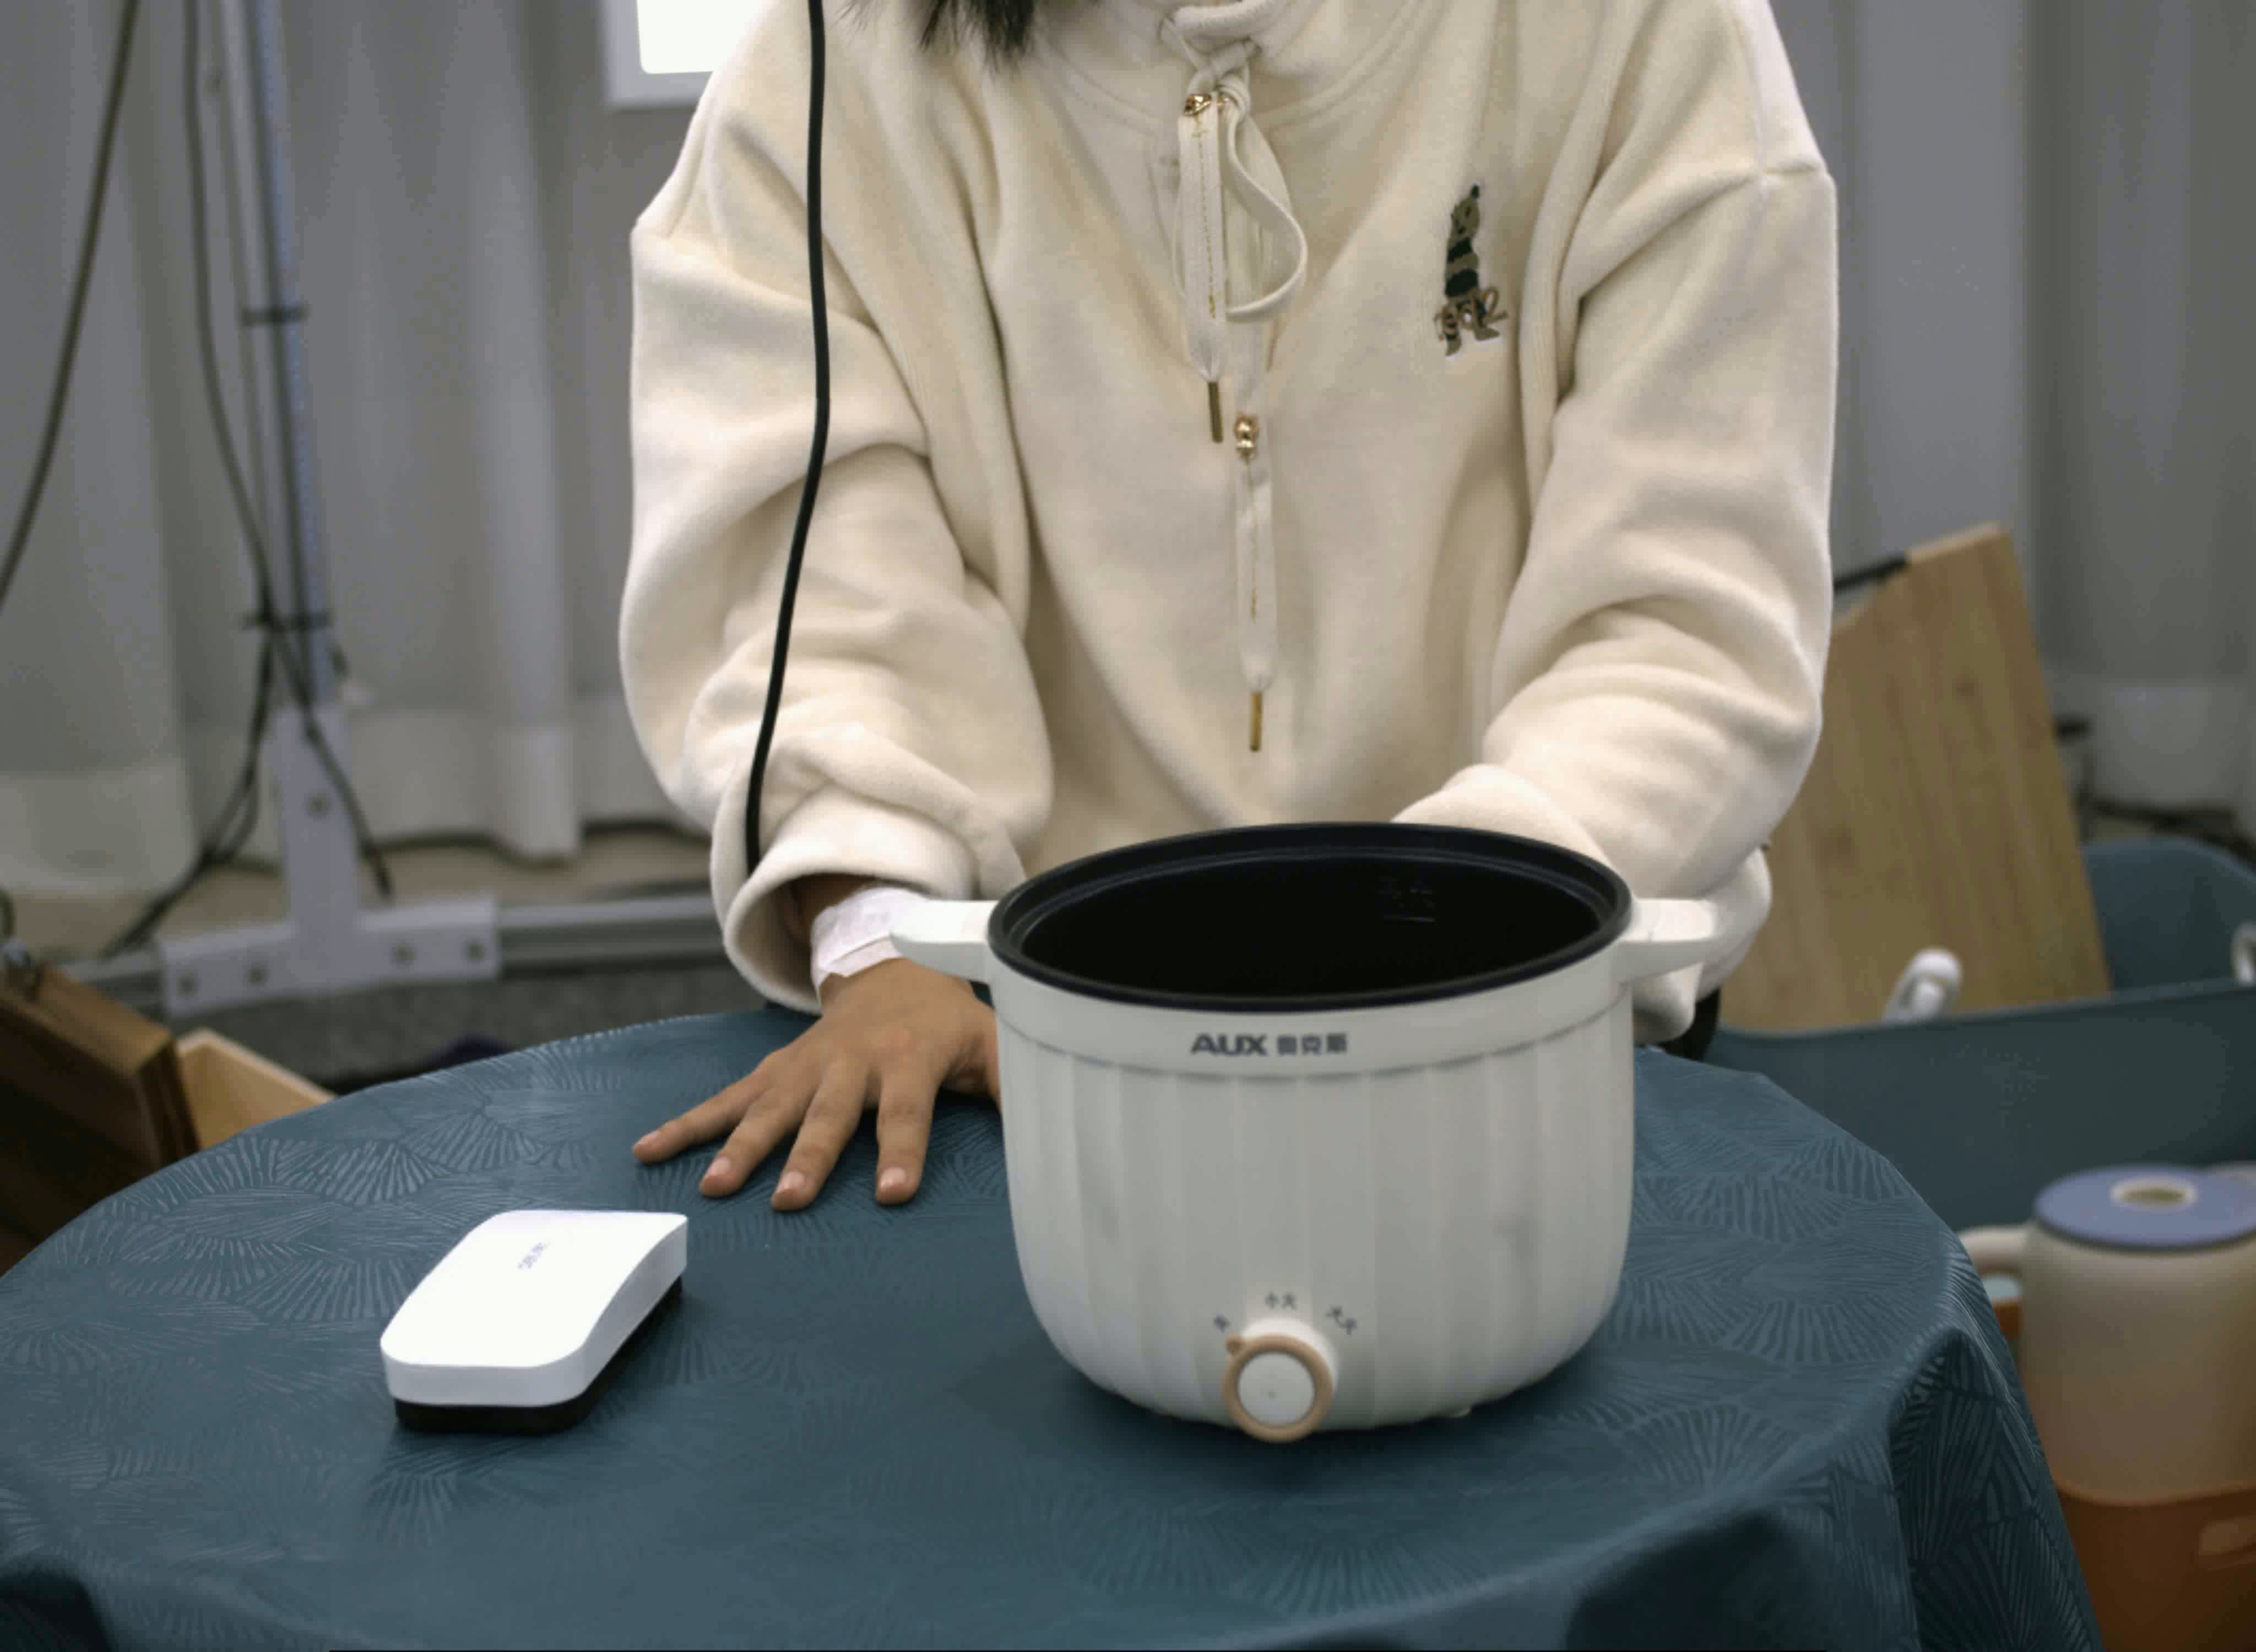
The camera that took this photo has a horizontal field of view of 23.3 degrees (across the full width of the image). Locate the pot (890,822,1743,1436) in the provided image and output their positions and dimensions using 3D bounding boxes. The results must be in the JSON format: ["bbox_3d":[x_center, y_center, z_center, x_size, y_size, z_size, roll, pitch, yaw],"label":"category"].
[{"bbox_3d":[0.054,0.087,1.537,0.240,0.142,0.191,-2,11,9],"label":"pot"}]

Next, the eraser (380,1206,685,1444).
[{"bbox_3d":[-0.170,0.141,1.591,0.063,0.034,0.132,3,16,11],"label":"eraser"}]
